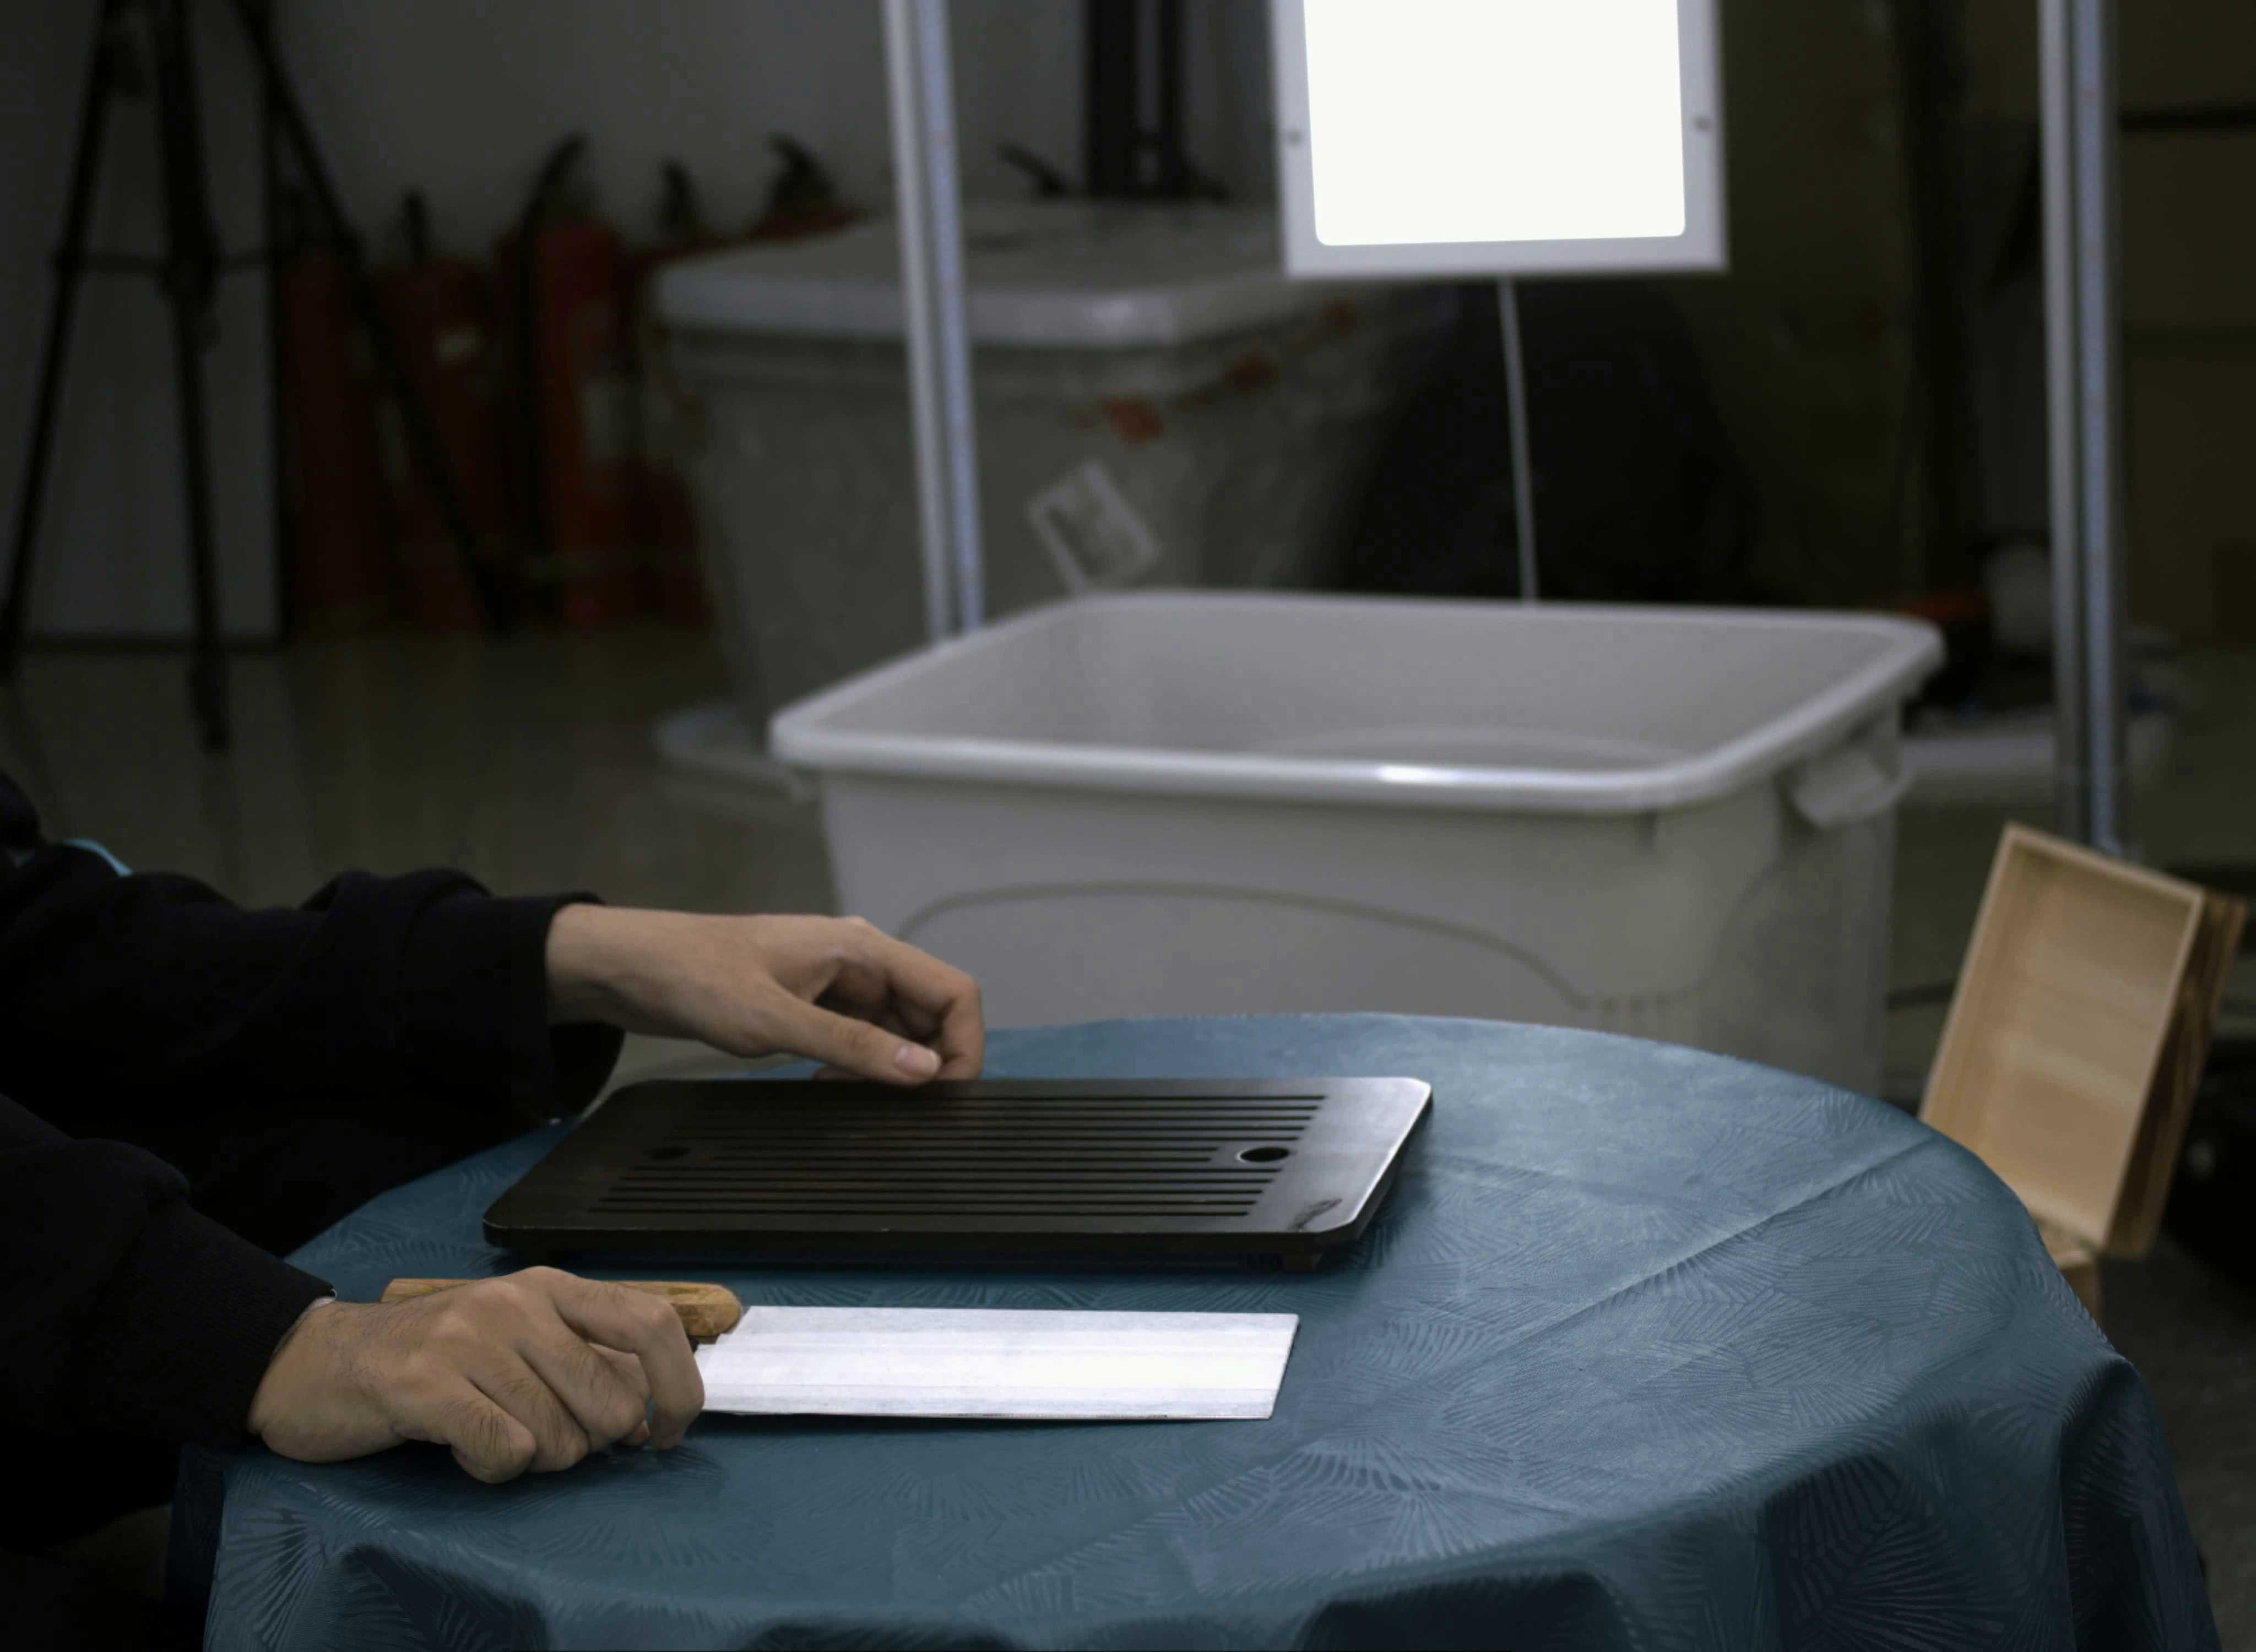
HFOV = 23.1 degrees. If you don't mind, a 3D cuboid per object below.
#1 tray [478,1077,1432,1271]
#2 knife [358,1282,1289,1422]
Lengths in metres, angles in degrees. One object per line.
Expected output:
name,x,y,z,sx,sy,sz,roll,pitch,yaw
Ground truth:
tray,-0.057,0.119,1.908,0.309,0.019,0.167,-1,15,17
knife,-0.101,0.167,1.737,0.307,0.021,0.092,0,16,10
